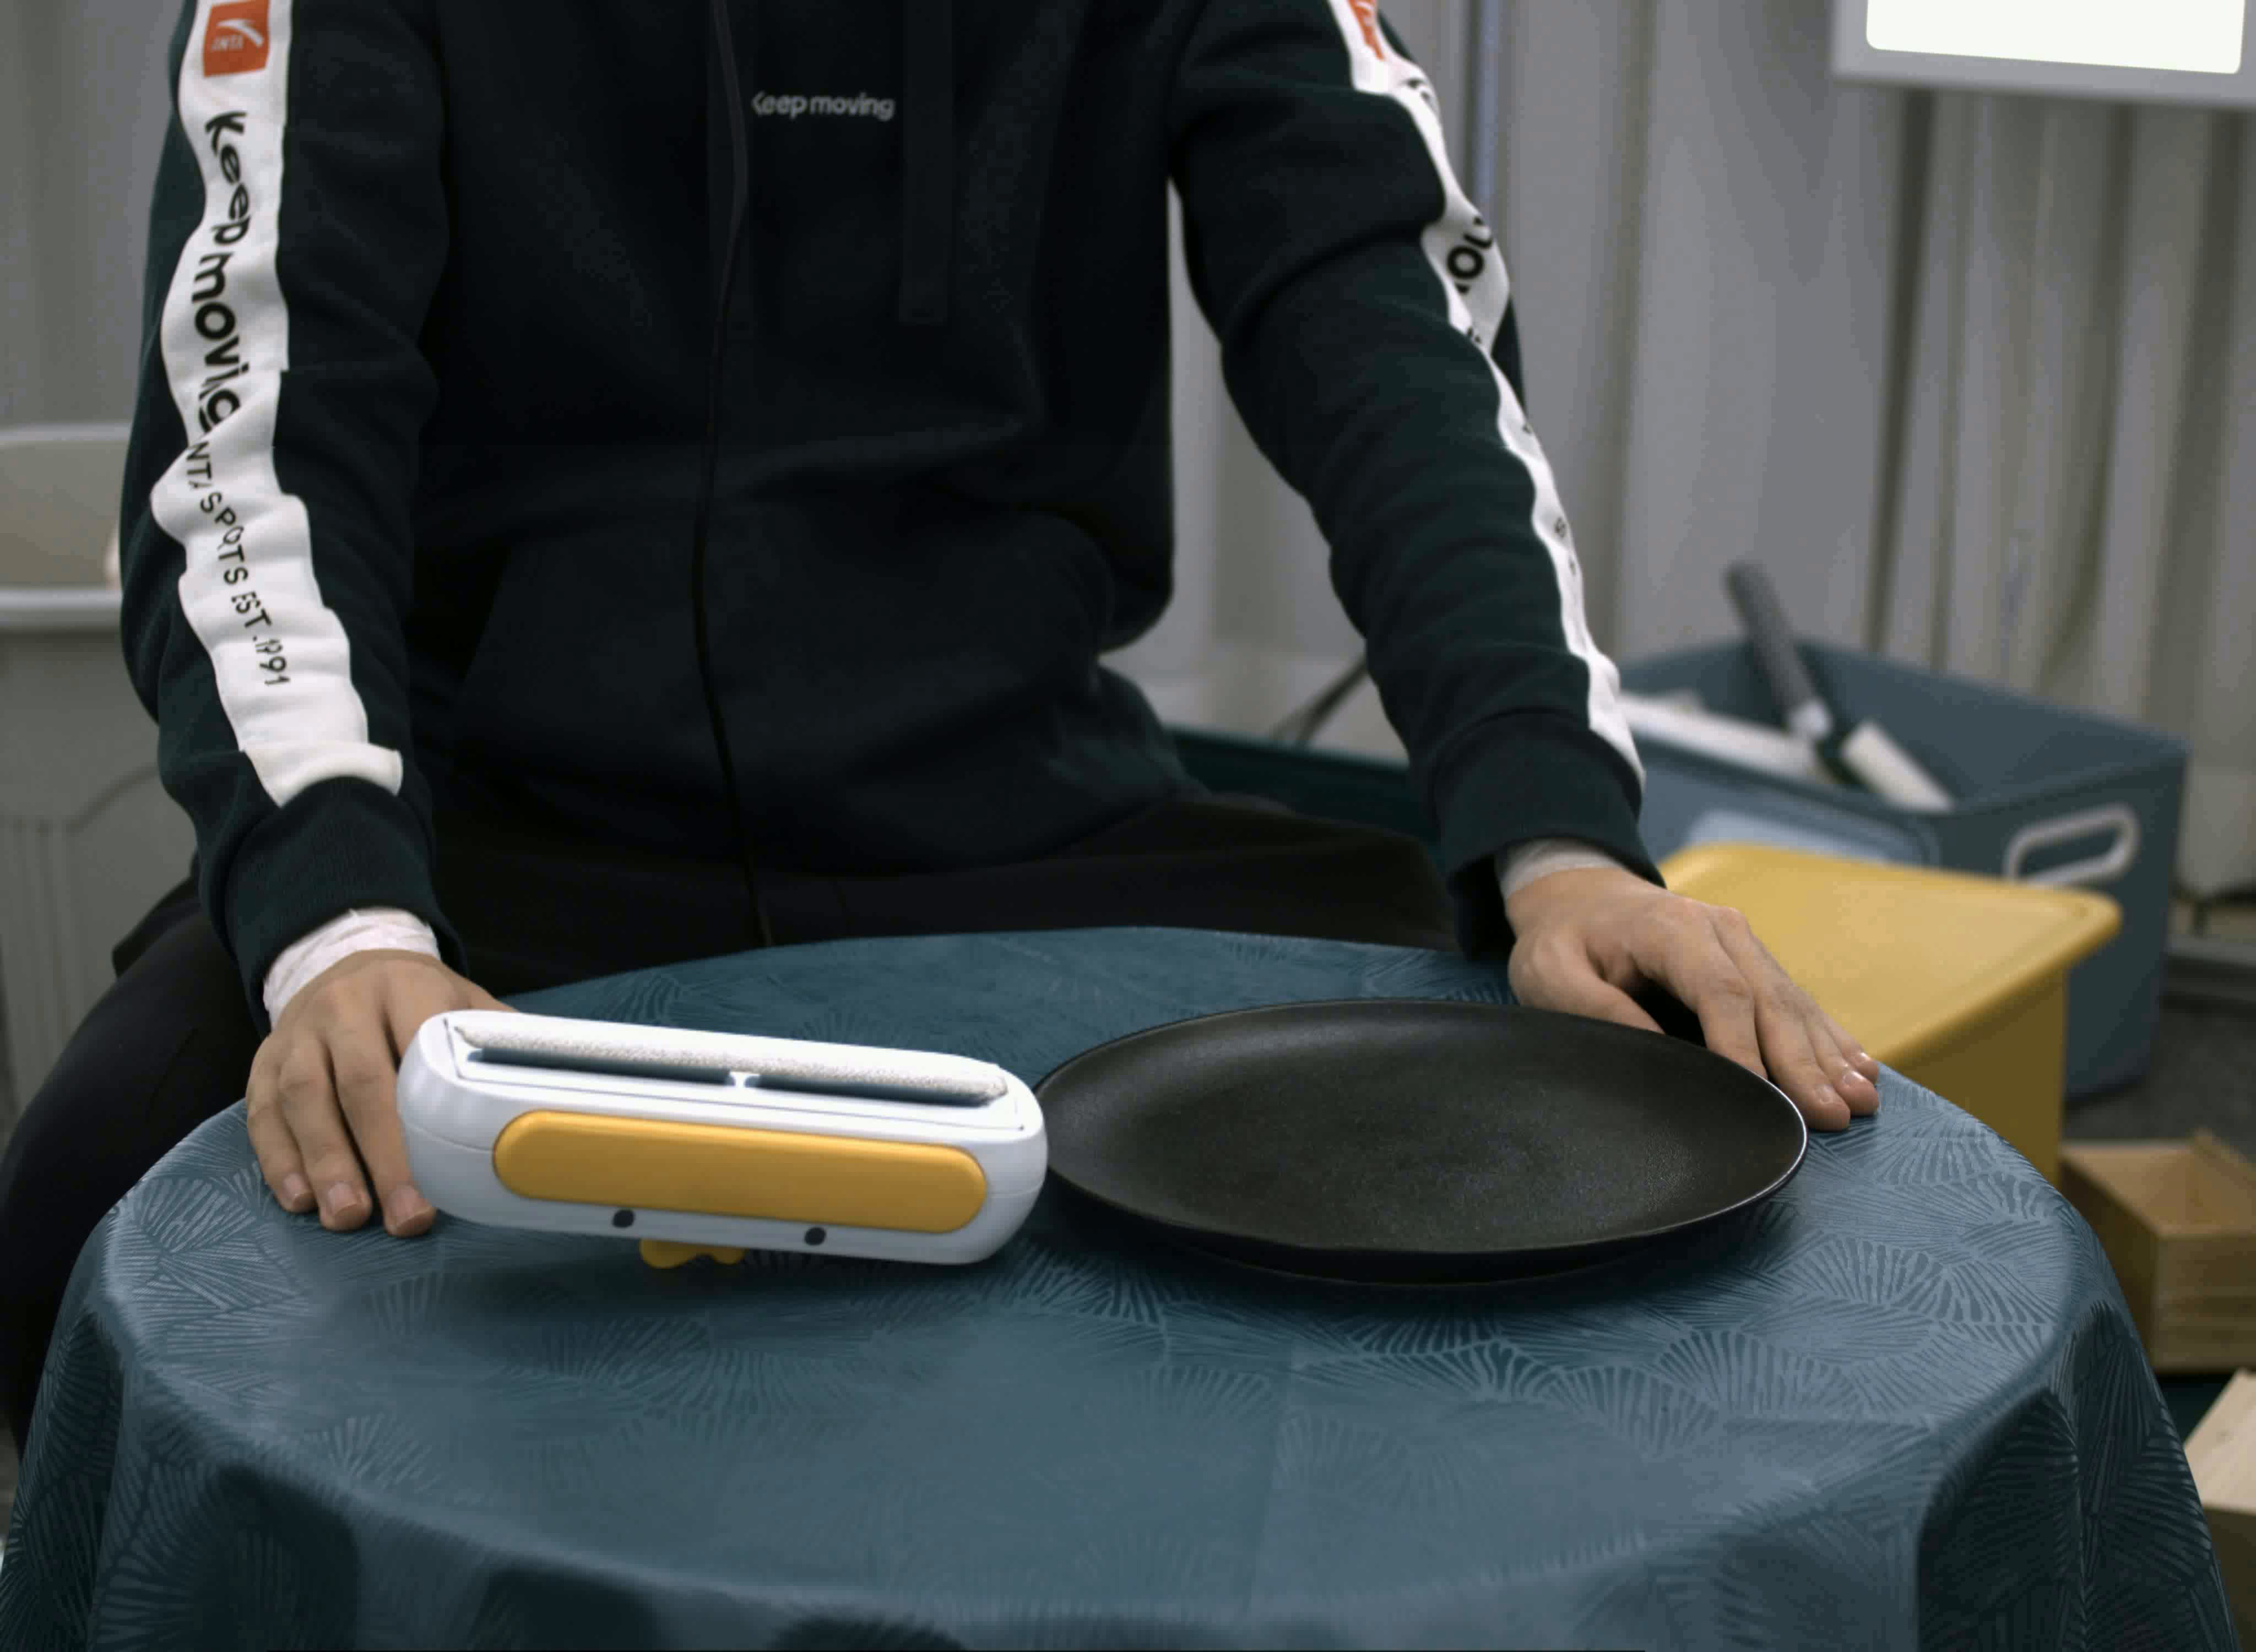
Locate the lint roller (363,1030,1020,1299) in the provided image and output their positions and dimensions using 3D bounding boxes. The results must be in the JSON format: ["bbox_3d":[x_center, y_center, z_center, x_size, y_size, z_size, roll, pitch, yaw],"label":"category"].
[{"bbox_3d":[-0.137,0.102,1.594,0.193,0.074,0.191,4,0,-10],"label":"lint roller"}]

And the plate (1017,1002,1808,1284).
[{"bbox_3d":[0.087,0.100,1.624,0.243,0.023,0.243,0,16,0],"label":"plate"}]
